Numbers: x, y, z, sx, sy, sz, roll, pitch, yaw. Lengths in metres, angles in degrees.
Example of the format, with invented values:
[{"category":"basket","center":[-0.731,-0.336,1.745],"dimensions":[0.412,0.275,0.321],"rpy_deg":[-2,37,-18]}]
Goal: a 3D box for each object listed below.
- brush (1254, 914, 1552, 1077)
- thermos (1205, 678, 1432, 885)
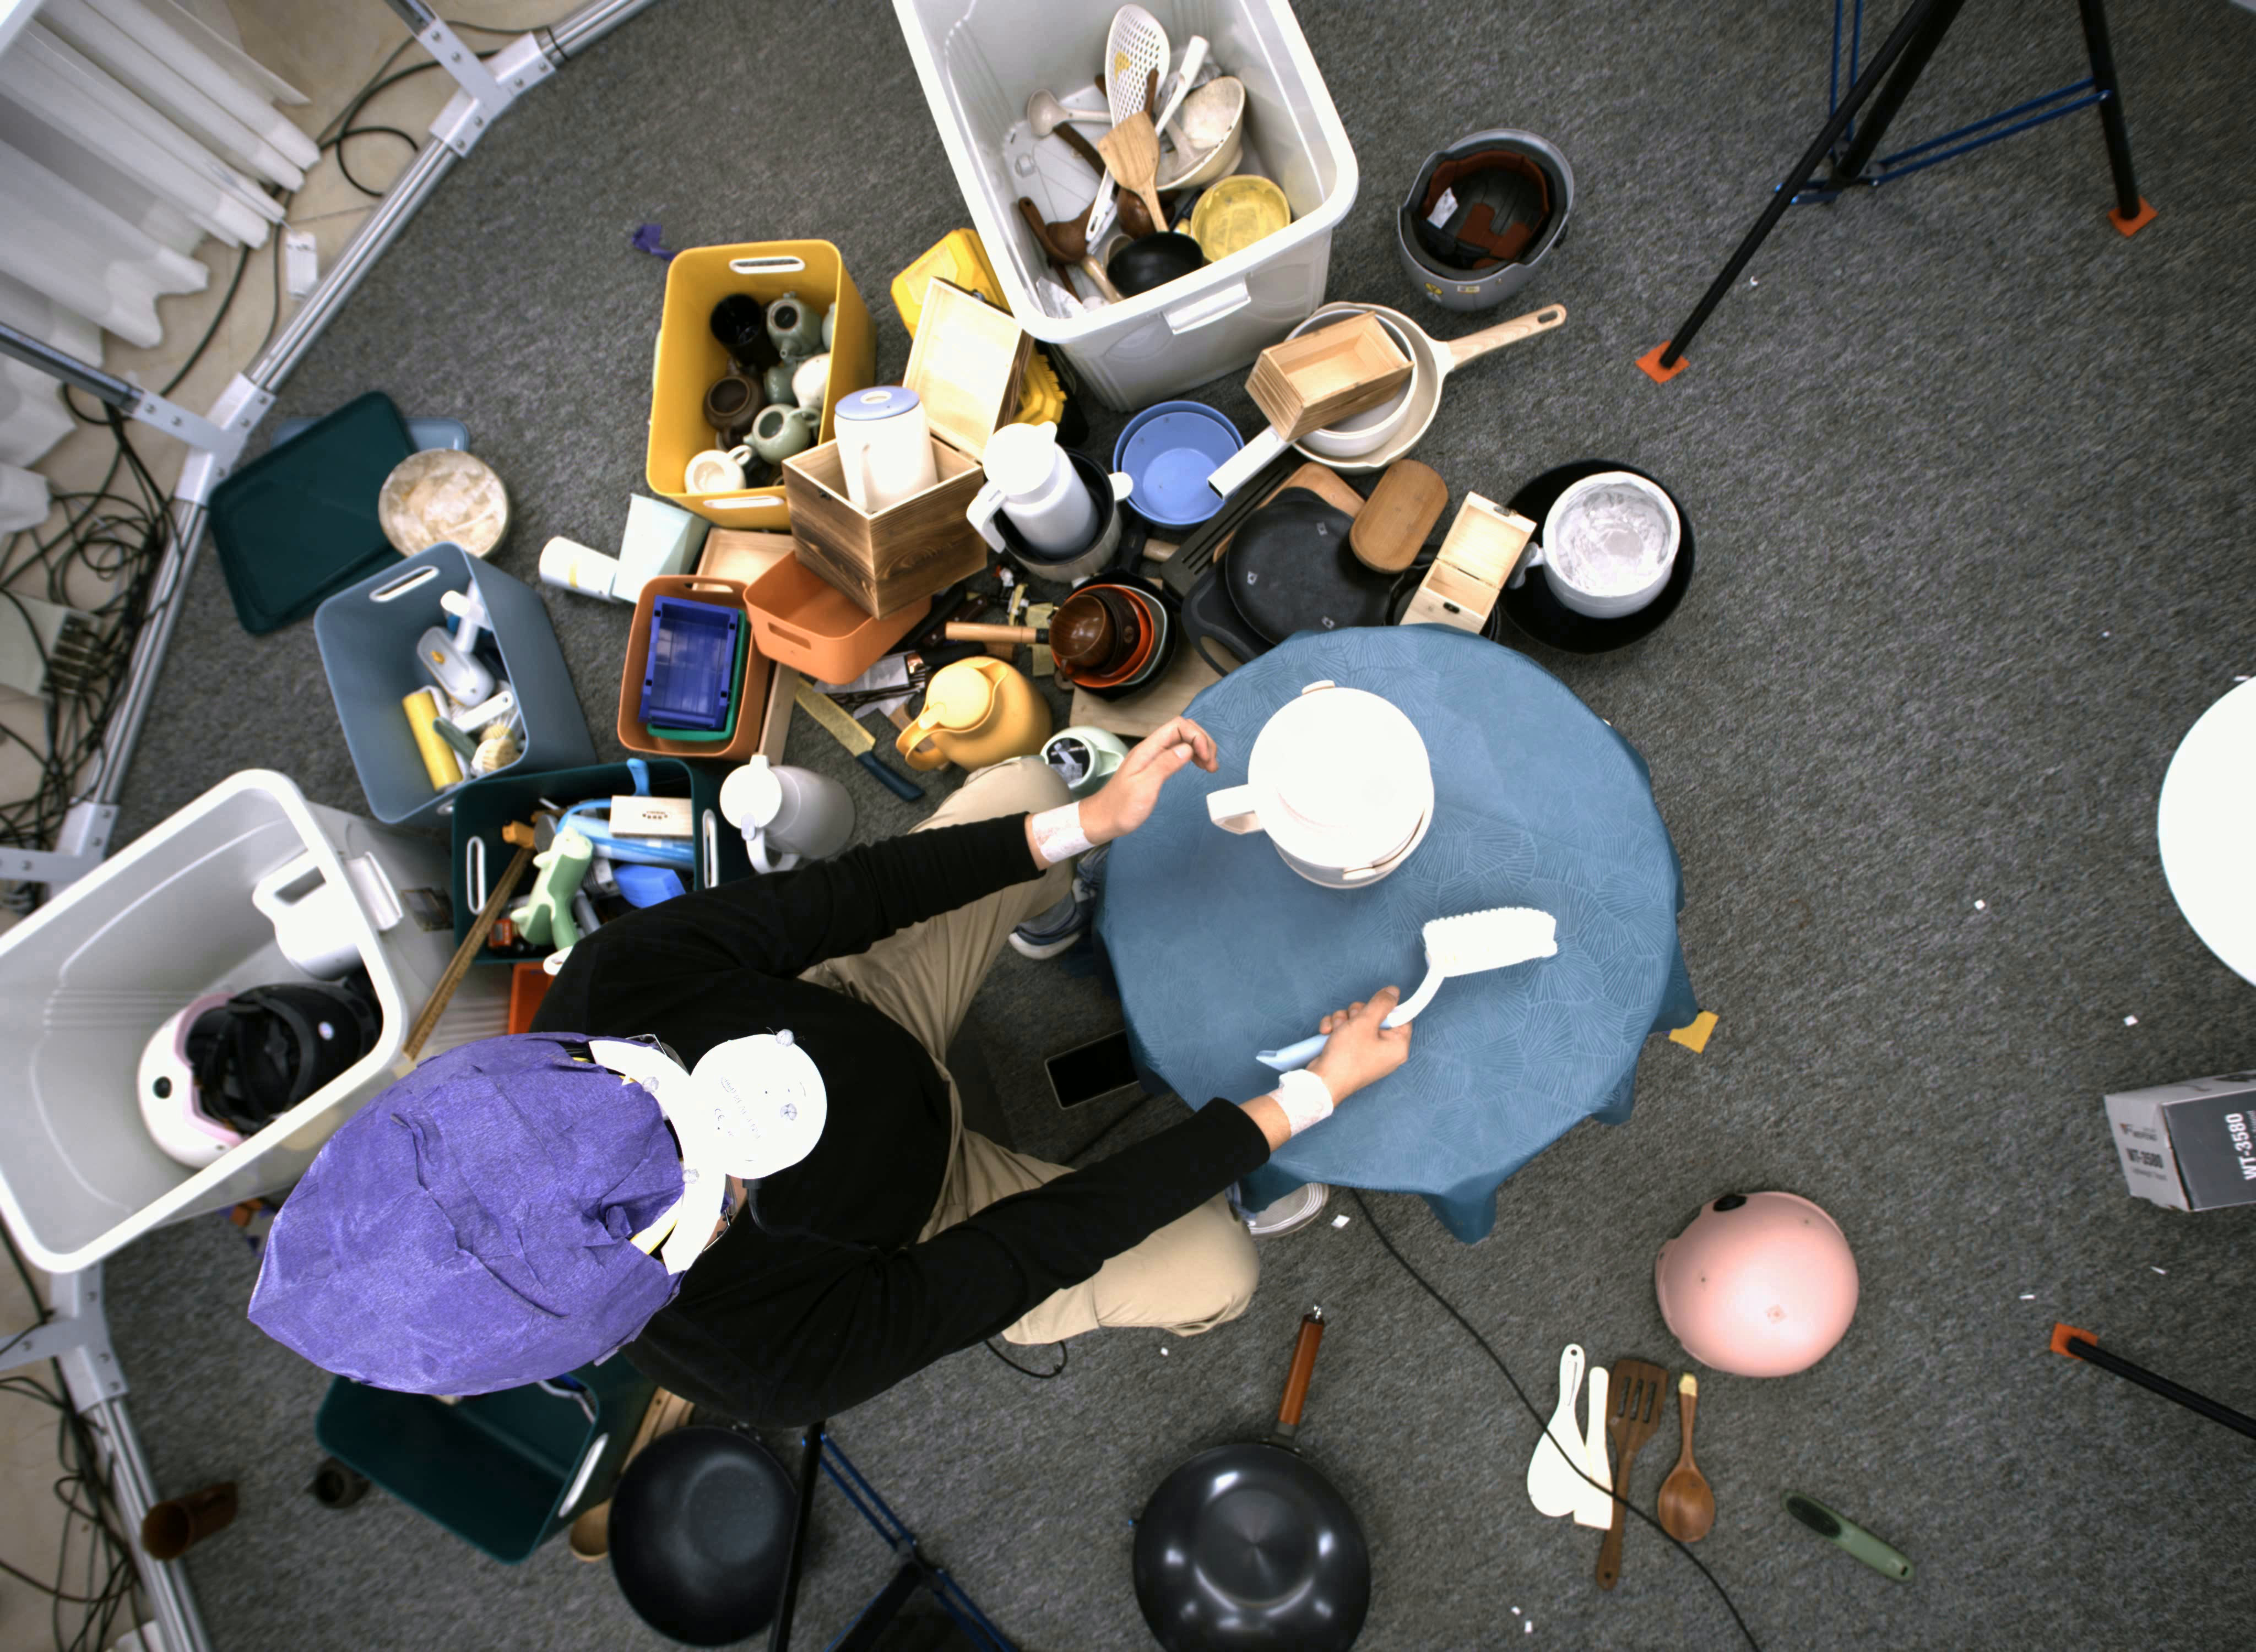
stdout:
[{"category":"brush","center":[0.268,0.154,1.383],"dimensions":[0.327,0.084,0.083],"rpy_deg":[-23,67,6]},{"category":"thermos","center":[0.181,-0.034,1.281],"dimensions":[0.208,0.406,0.174],"rpy_deg":[-13,84,8]}]
